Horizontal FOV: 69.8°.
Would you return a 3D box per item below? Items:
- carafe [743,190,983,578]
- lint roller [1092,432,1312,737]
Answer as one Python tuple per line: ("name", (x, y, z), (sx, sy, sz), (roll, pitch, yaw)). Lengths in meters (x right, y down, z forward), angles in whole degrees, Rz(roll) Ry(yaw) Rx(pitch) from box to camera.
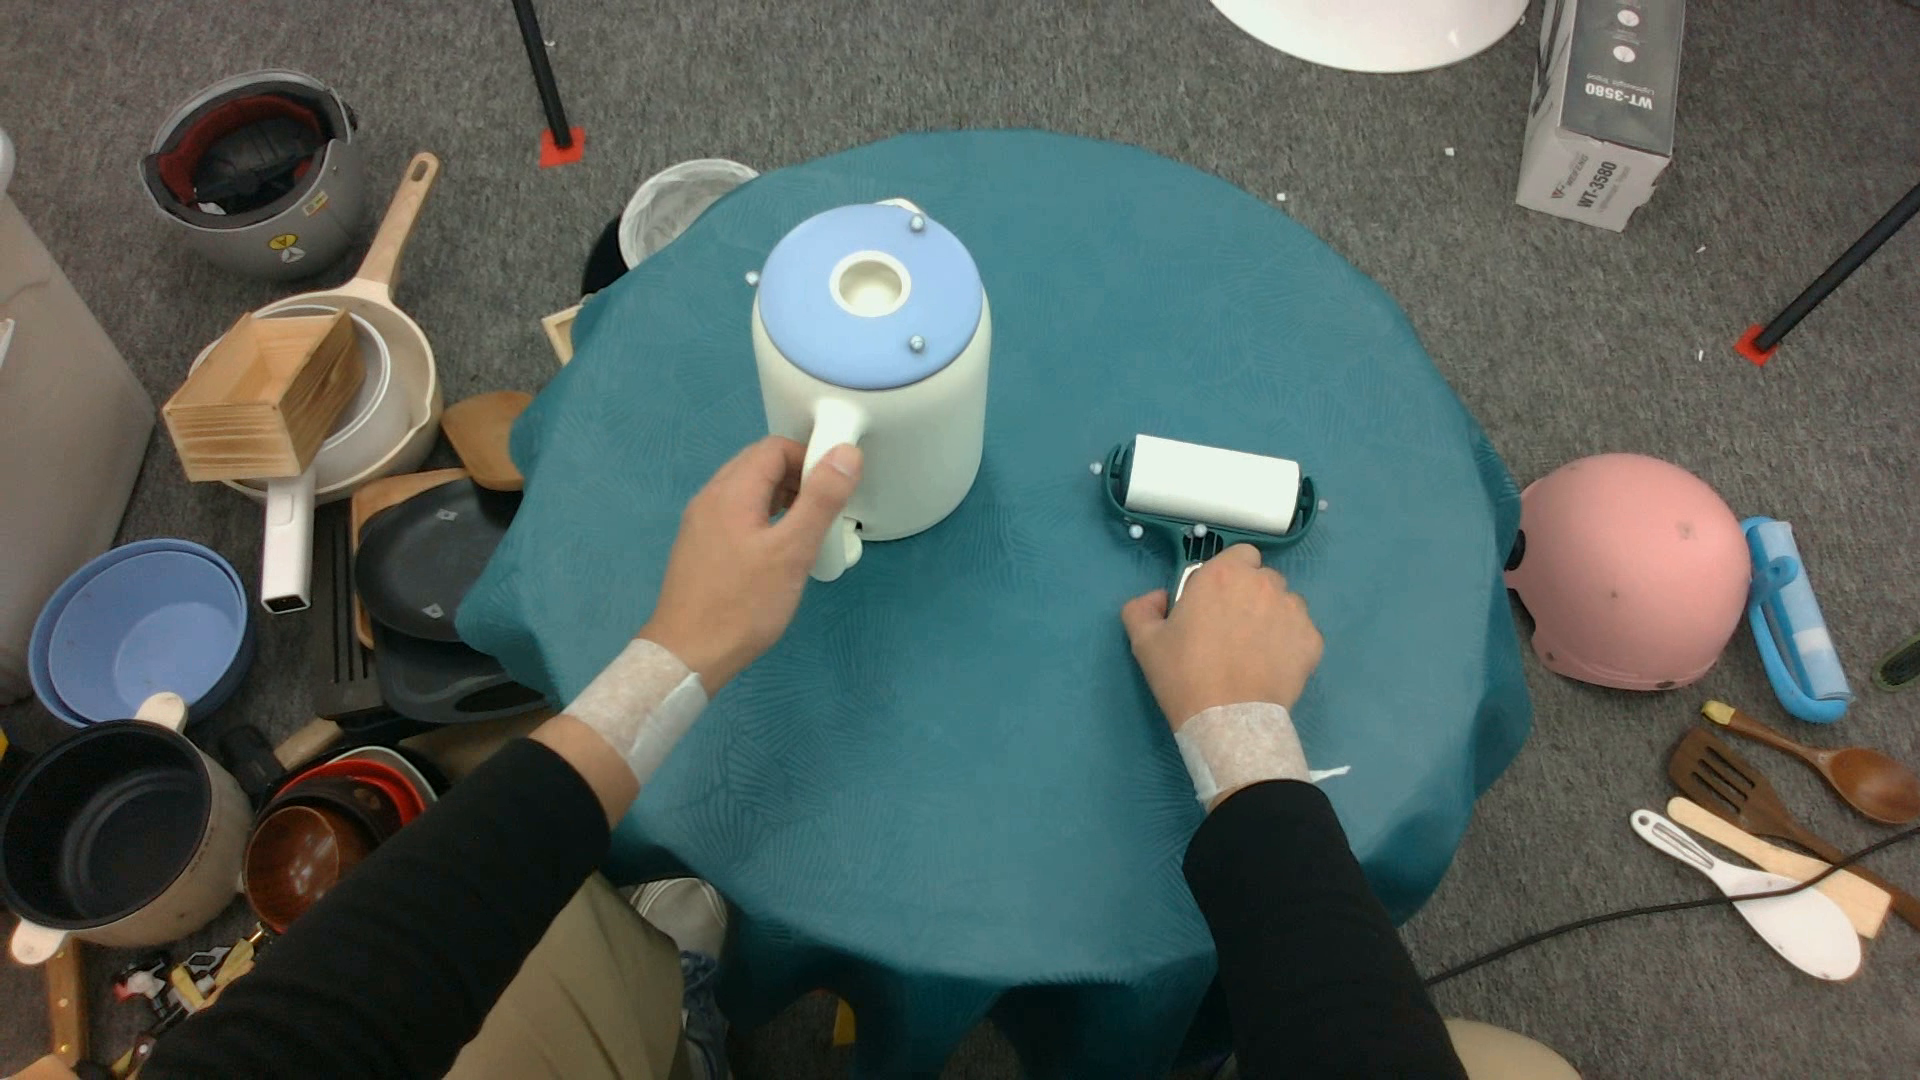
("carafe", (-0.060, -0.074, 0.784), (0.132, 0.182, 0.192), (11, 65, 4))
("lint roller", (0.136, 0.024, 0.813), (0.134, 0.048, 0.181), (9, 63, 2))
